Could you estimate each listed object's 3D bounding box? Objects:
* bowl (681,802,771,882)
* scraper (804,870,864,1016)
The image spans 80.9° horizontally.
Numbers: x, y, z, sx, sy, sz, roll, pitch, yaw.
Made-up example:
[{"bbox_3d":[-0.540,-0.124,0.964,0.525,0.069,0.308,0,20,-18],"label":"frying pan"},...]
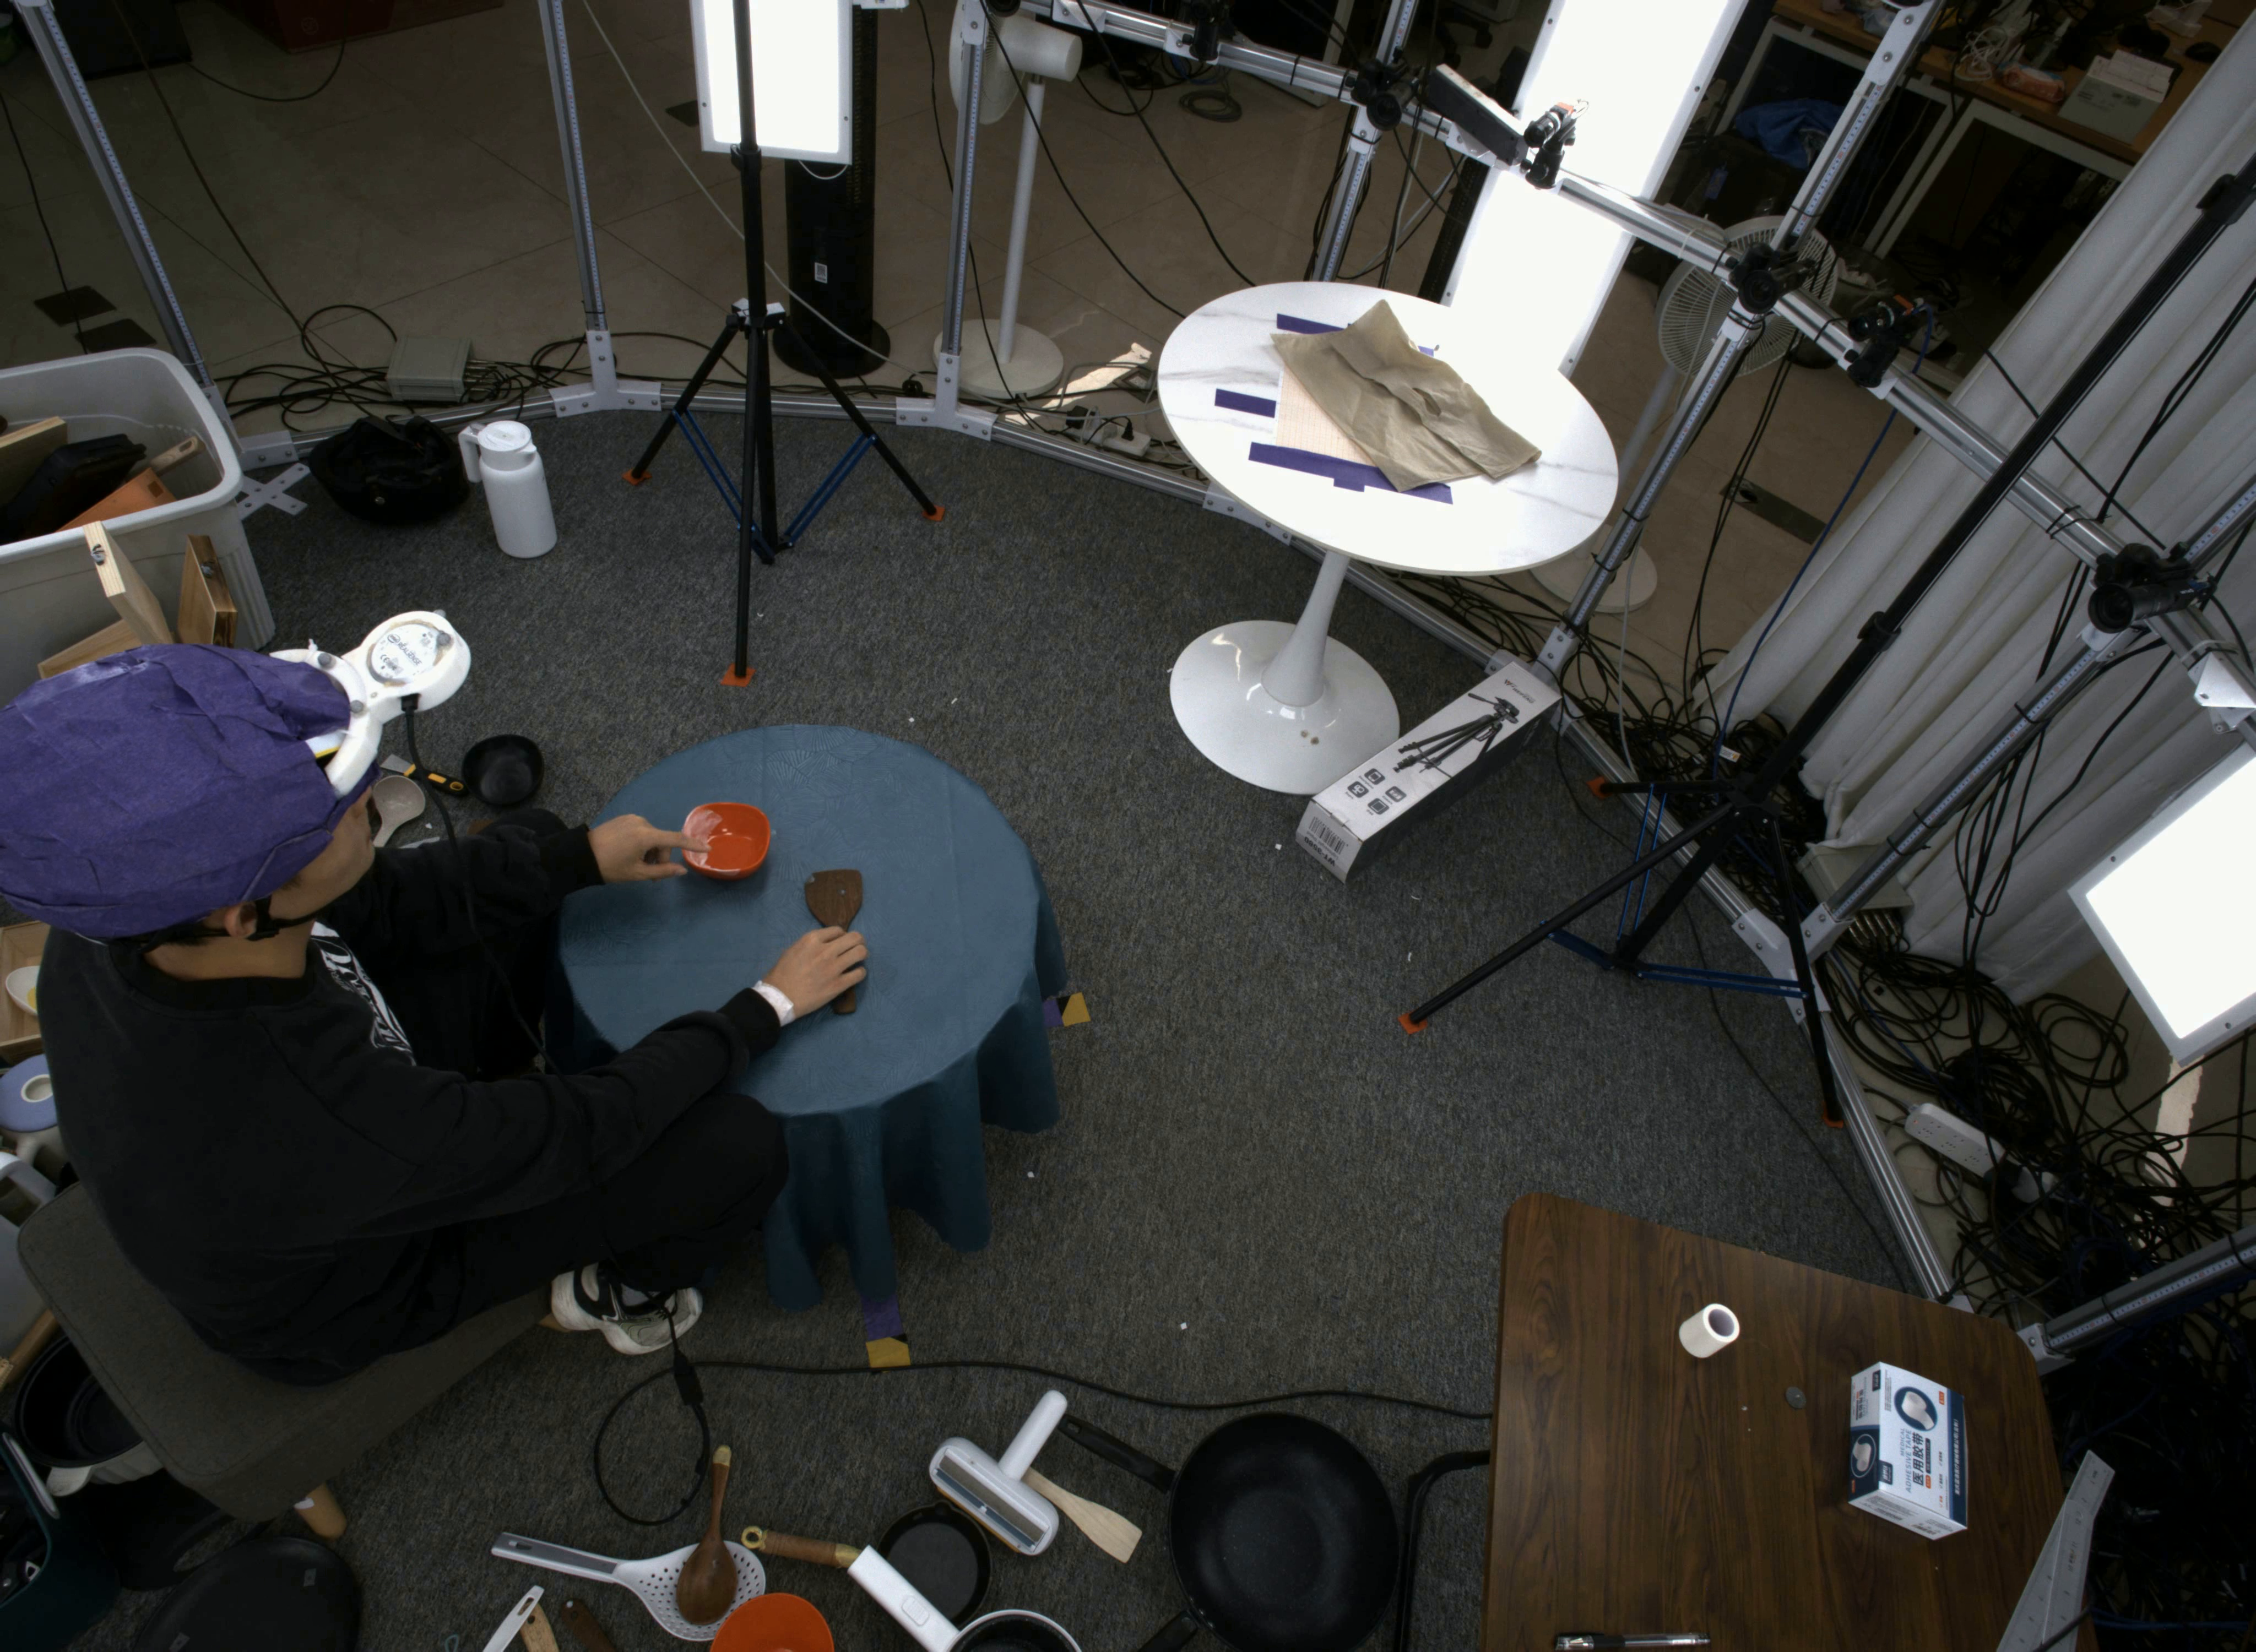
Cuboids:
[{"bbox_3d":[-0.514,0.027,1.654,0.119,0.052,0.117,9,52,-10],"label":"bowl"},{"bbox_3d":[-0.364,0.143,1.633,0.076,0.011,0.206,-4,56,-16],"label":"scraper"}]
